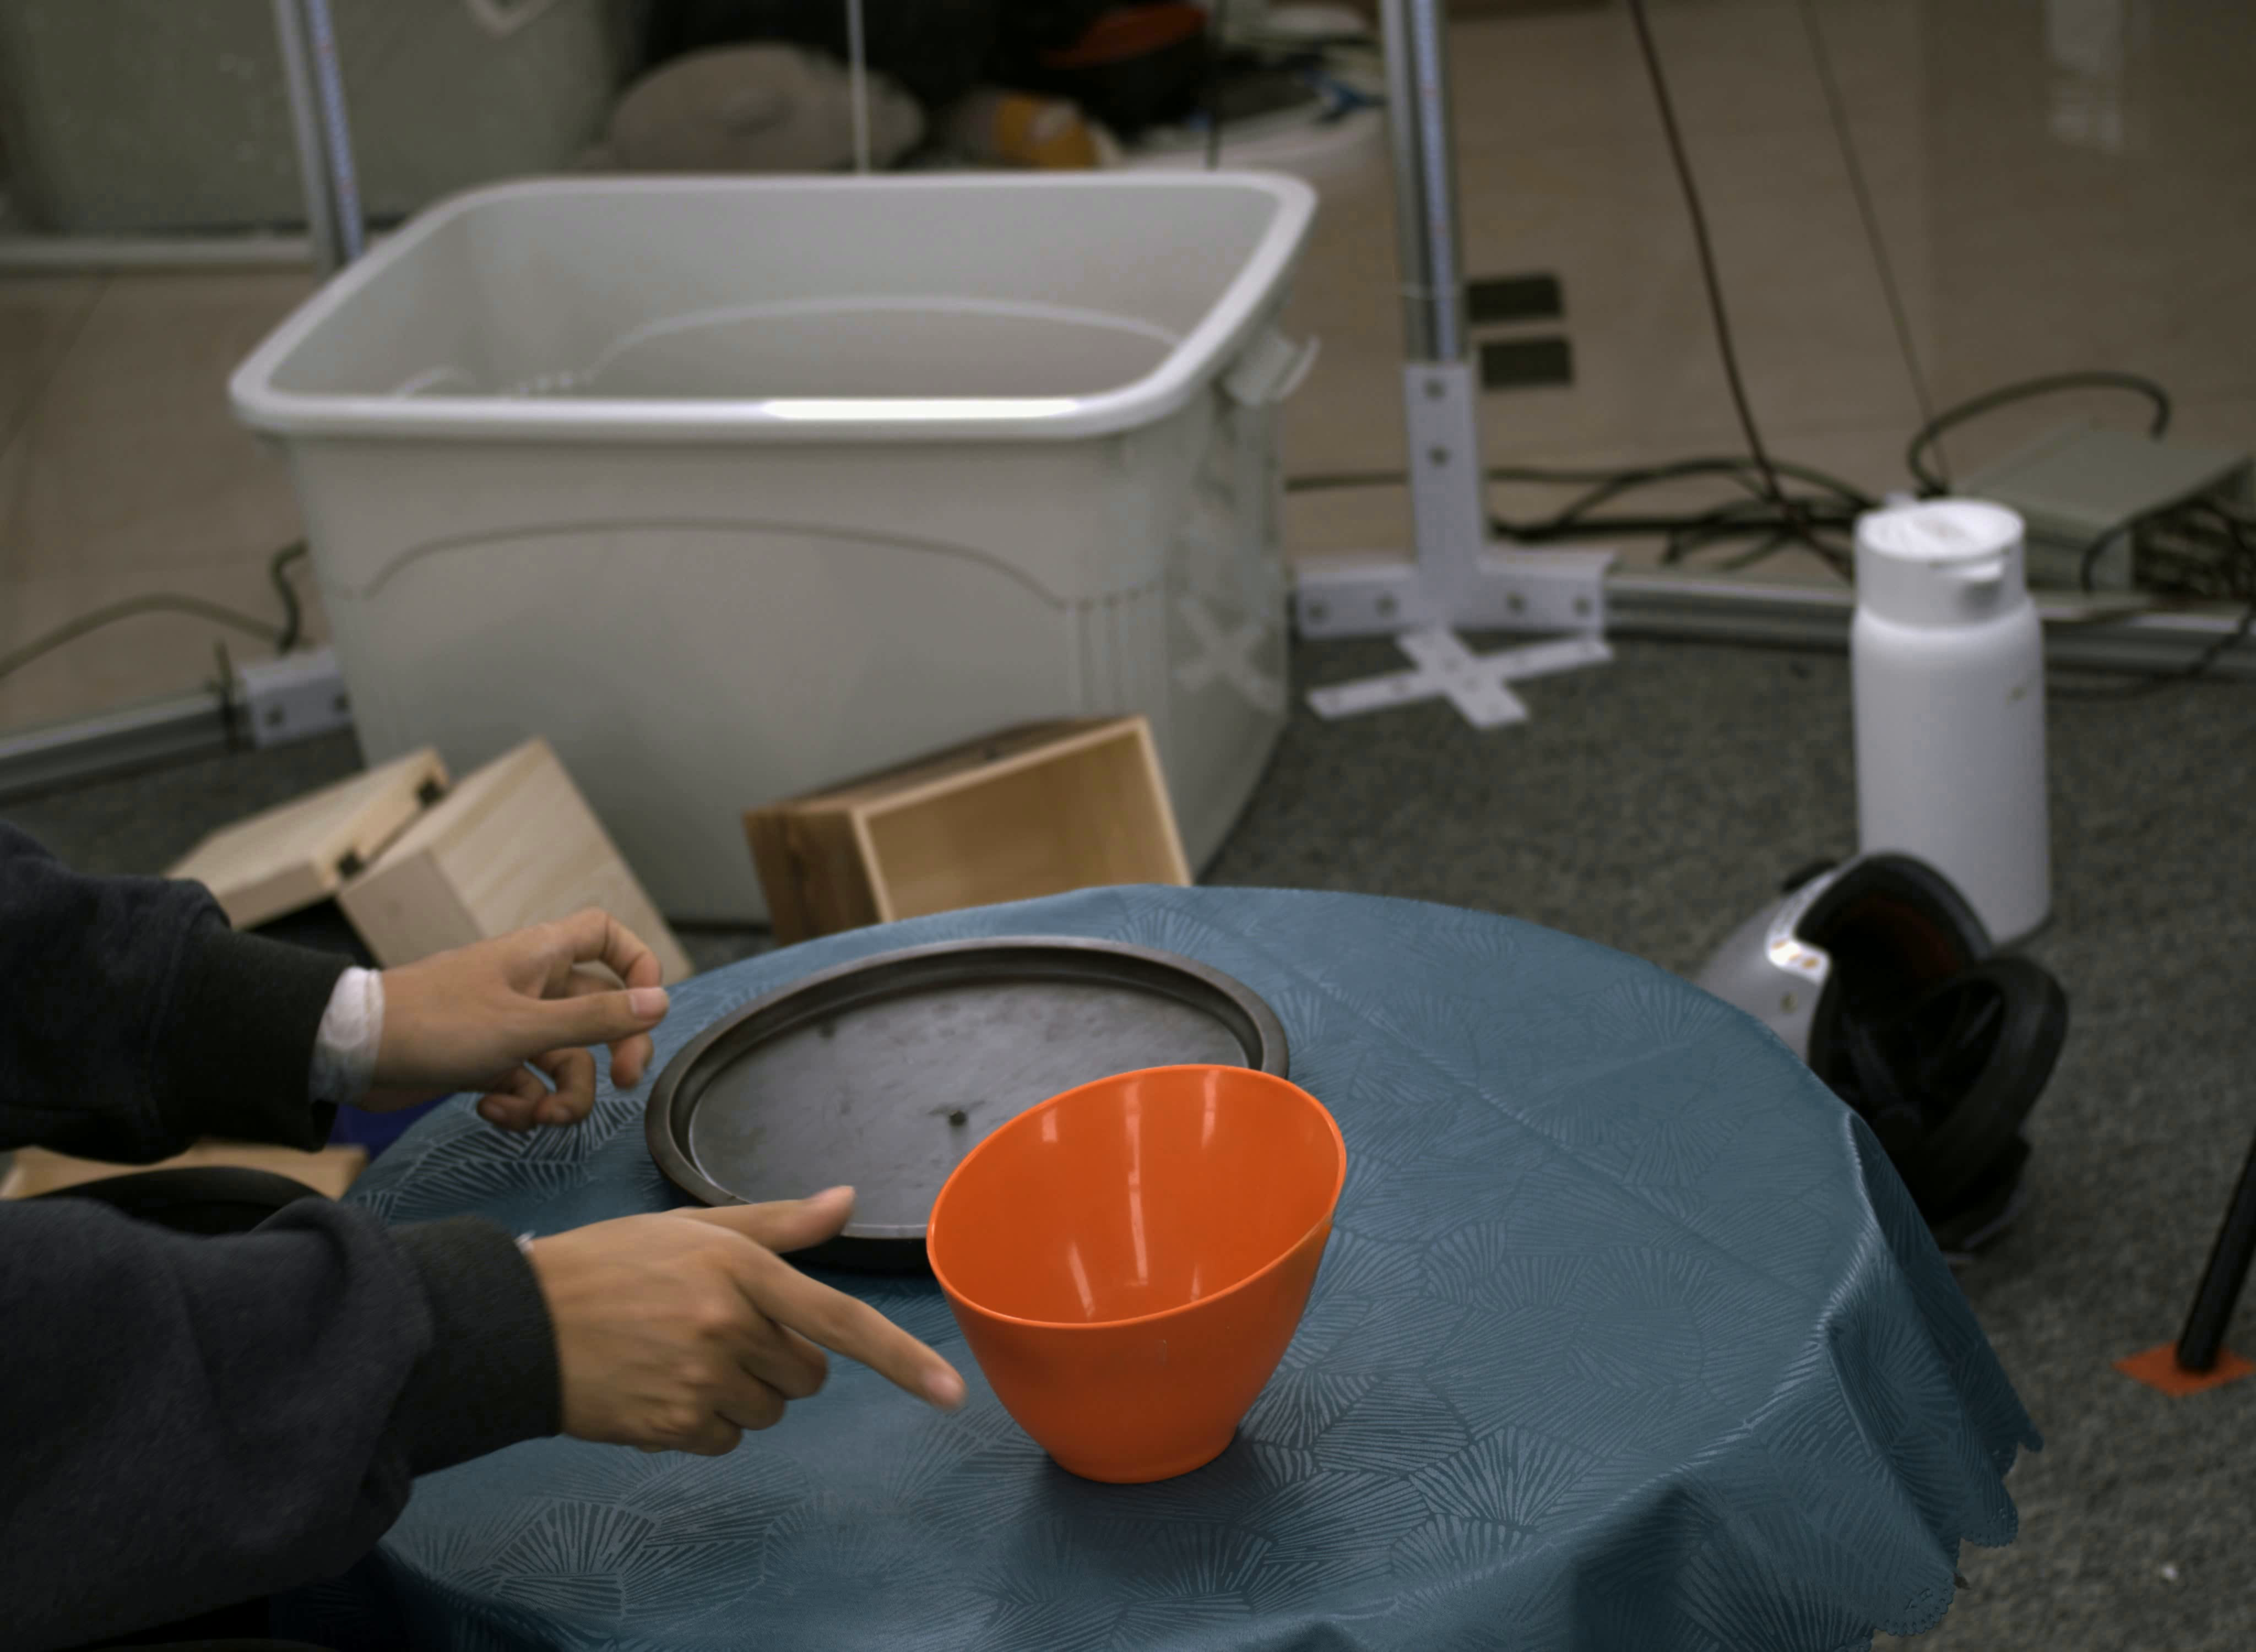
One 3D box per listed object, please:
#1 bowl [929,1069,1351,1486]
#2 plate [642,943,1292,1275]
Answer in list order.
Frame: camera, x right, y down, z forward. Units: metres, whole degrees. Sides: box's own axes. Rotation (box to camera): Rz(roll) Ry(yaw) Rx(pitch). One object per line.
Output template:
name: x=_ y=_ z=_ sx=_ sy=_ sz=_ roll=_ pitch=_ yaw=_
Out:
bowl: x=0.008 y=0.164 z=1.970 sx=0.148 sy=0.106 sz=0.146 roll=-5 pitch=26 yaw=2
plate: x=-0.062 y=0.108 z=2.202 sx=0.254 sy=0.029 sz=0.251 roll=-5 pitch=26 yaw=2
